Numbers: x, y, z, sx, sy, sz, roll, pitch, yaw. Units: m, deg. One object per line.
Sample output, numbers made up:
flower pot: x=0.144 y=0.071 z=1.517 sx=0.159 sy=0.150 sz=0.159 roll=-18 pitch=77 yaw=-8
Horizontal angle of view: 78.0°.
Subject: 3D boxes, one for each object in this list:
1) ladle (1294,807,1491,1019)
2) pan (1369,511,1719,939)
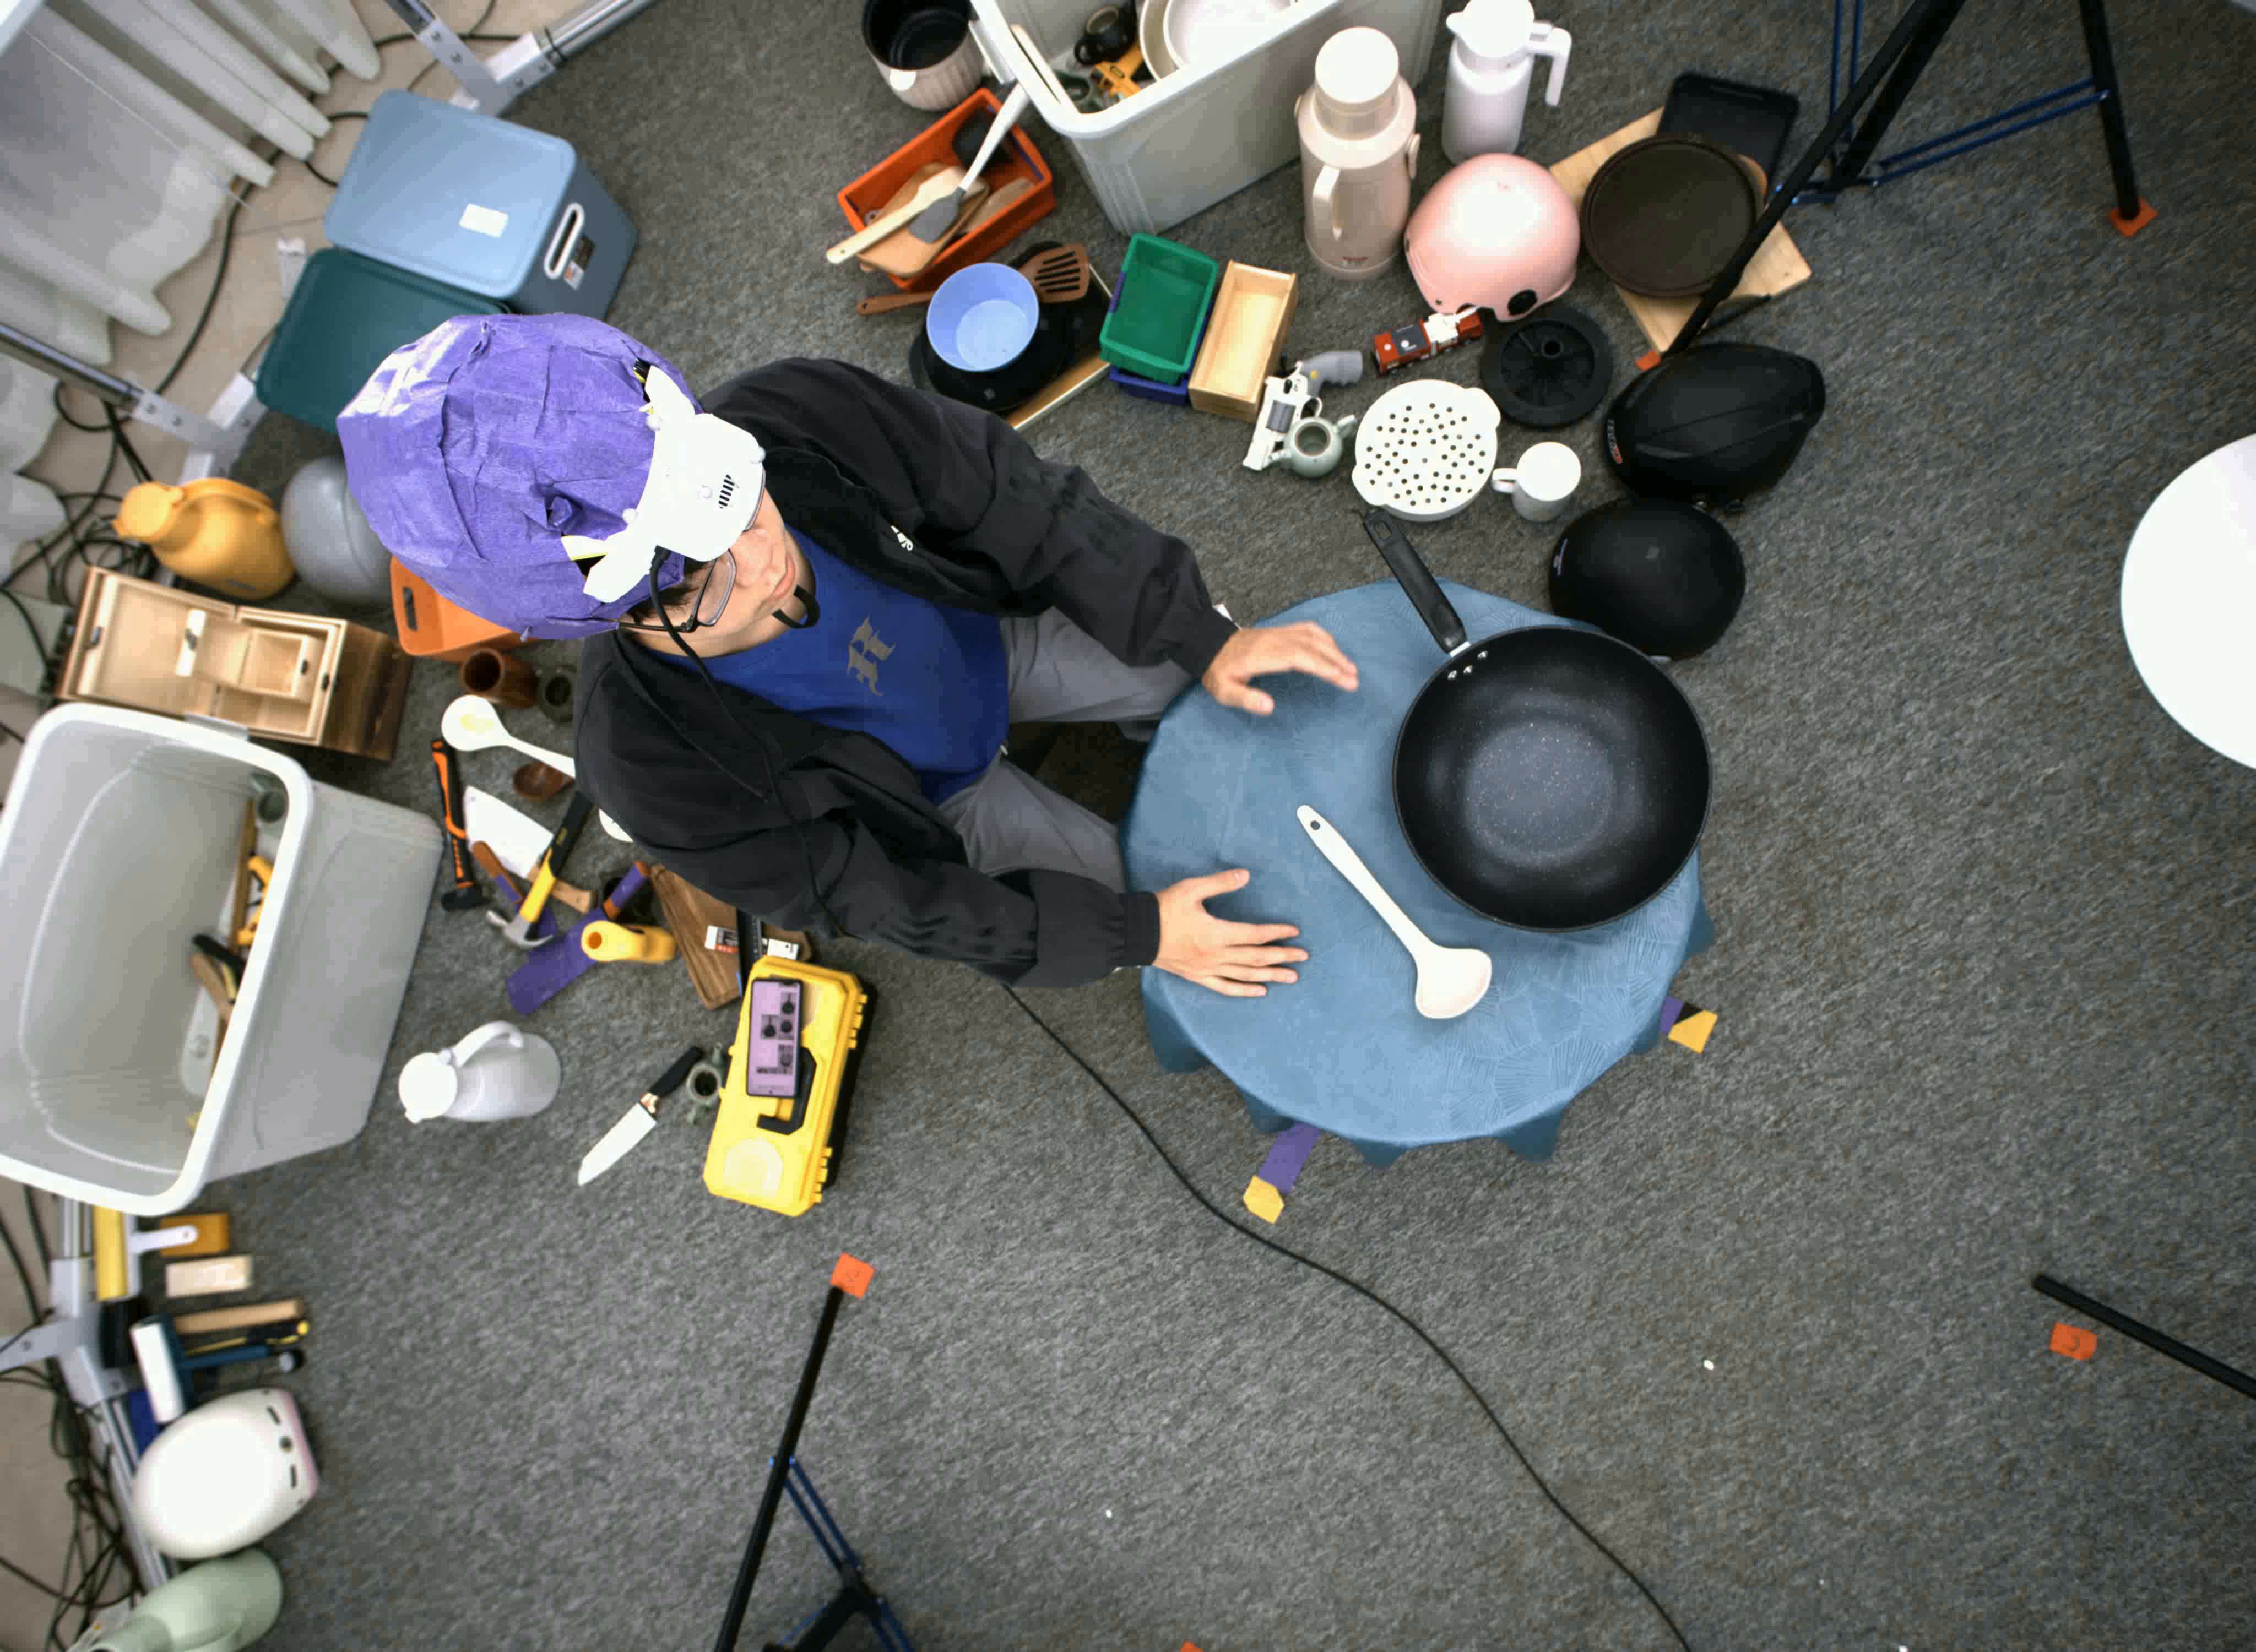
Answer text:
ladle: x=0.262 y=0.080 z=1.425 sx=0.090 sy=0.069 sz=0.273 roll=-44 pitch=79 yaw=12
pan: x=0.384 y=-0.112 z=1.393 sx=0.311 sy=0.112 sz=0.474 roll=-33 pitch=82 yaw=6
